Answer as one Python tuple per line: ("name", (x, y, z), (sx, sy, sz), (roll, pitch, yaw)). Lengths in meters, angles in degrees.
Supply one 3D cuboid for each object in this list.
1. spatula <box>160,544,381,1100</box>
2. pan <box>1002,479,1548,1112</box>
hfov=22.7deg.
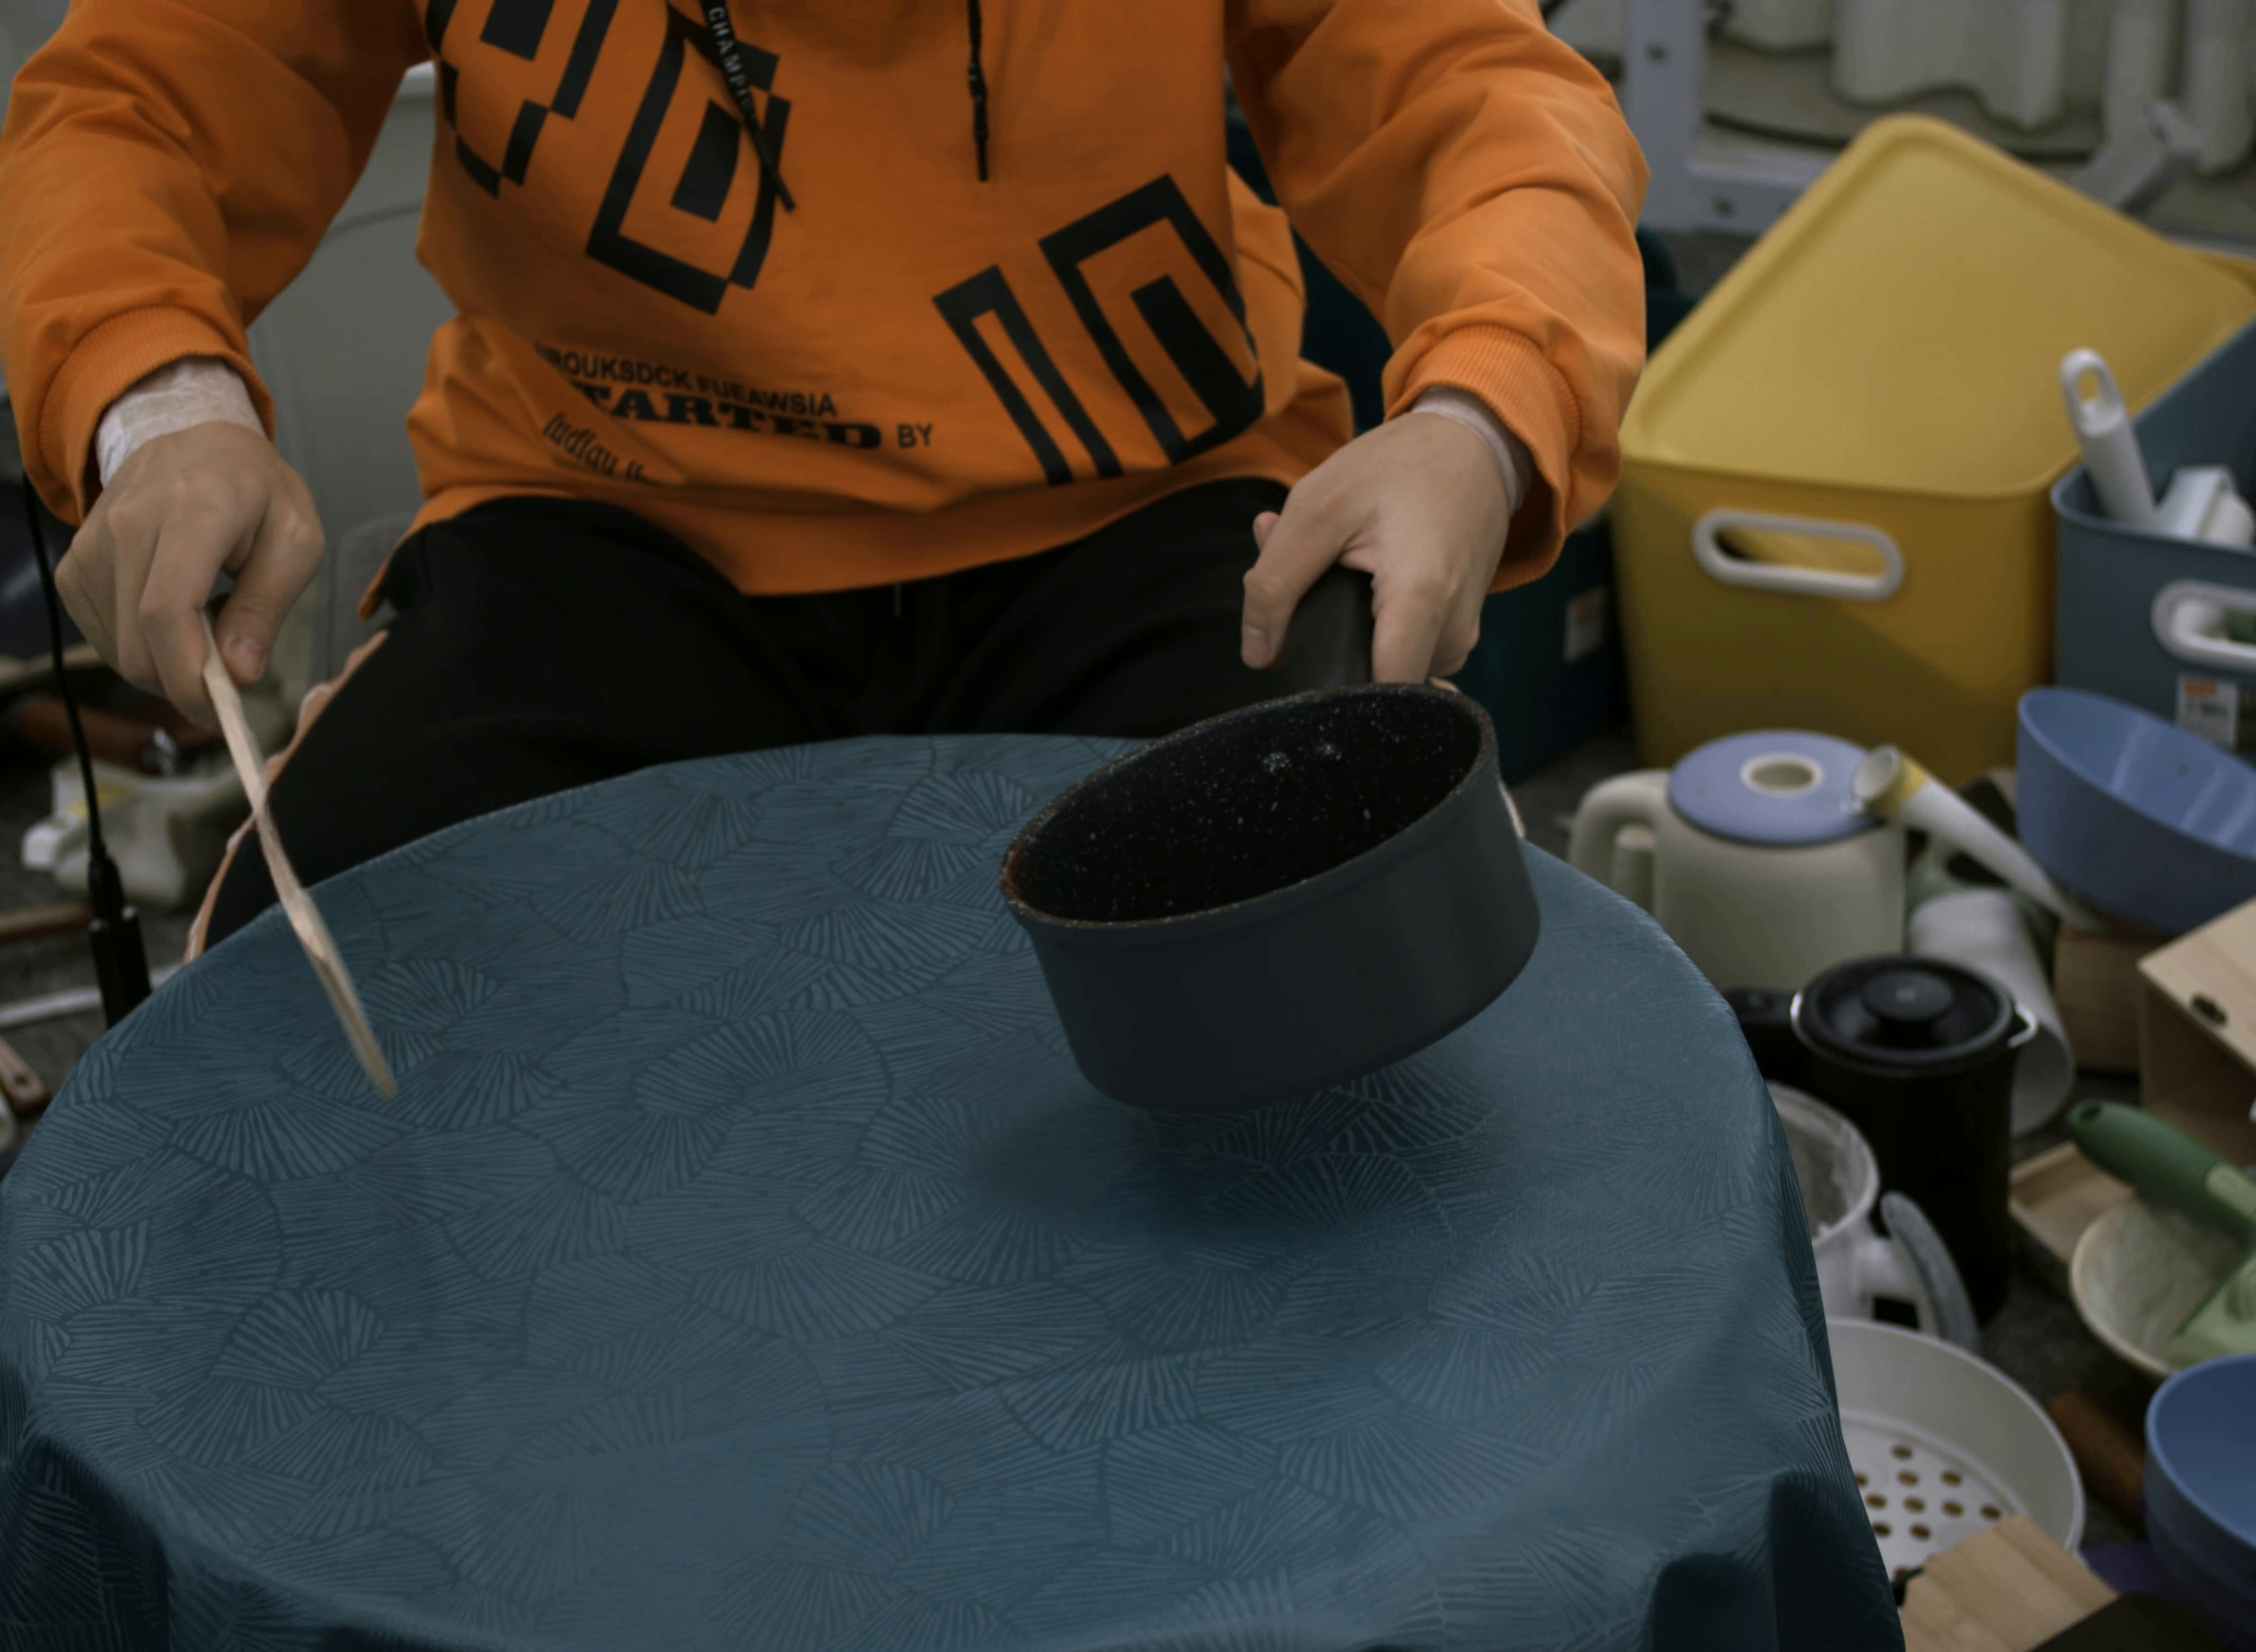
("spatula", (-0.300, -0.014, 1.923), (0.010, 0.071, 0.296), (-23, 39, -6))
("pan", (0.068, -0.014, 1.928), (0.170, 0.086, 0.334), (-11, 23, 19))
